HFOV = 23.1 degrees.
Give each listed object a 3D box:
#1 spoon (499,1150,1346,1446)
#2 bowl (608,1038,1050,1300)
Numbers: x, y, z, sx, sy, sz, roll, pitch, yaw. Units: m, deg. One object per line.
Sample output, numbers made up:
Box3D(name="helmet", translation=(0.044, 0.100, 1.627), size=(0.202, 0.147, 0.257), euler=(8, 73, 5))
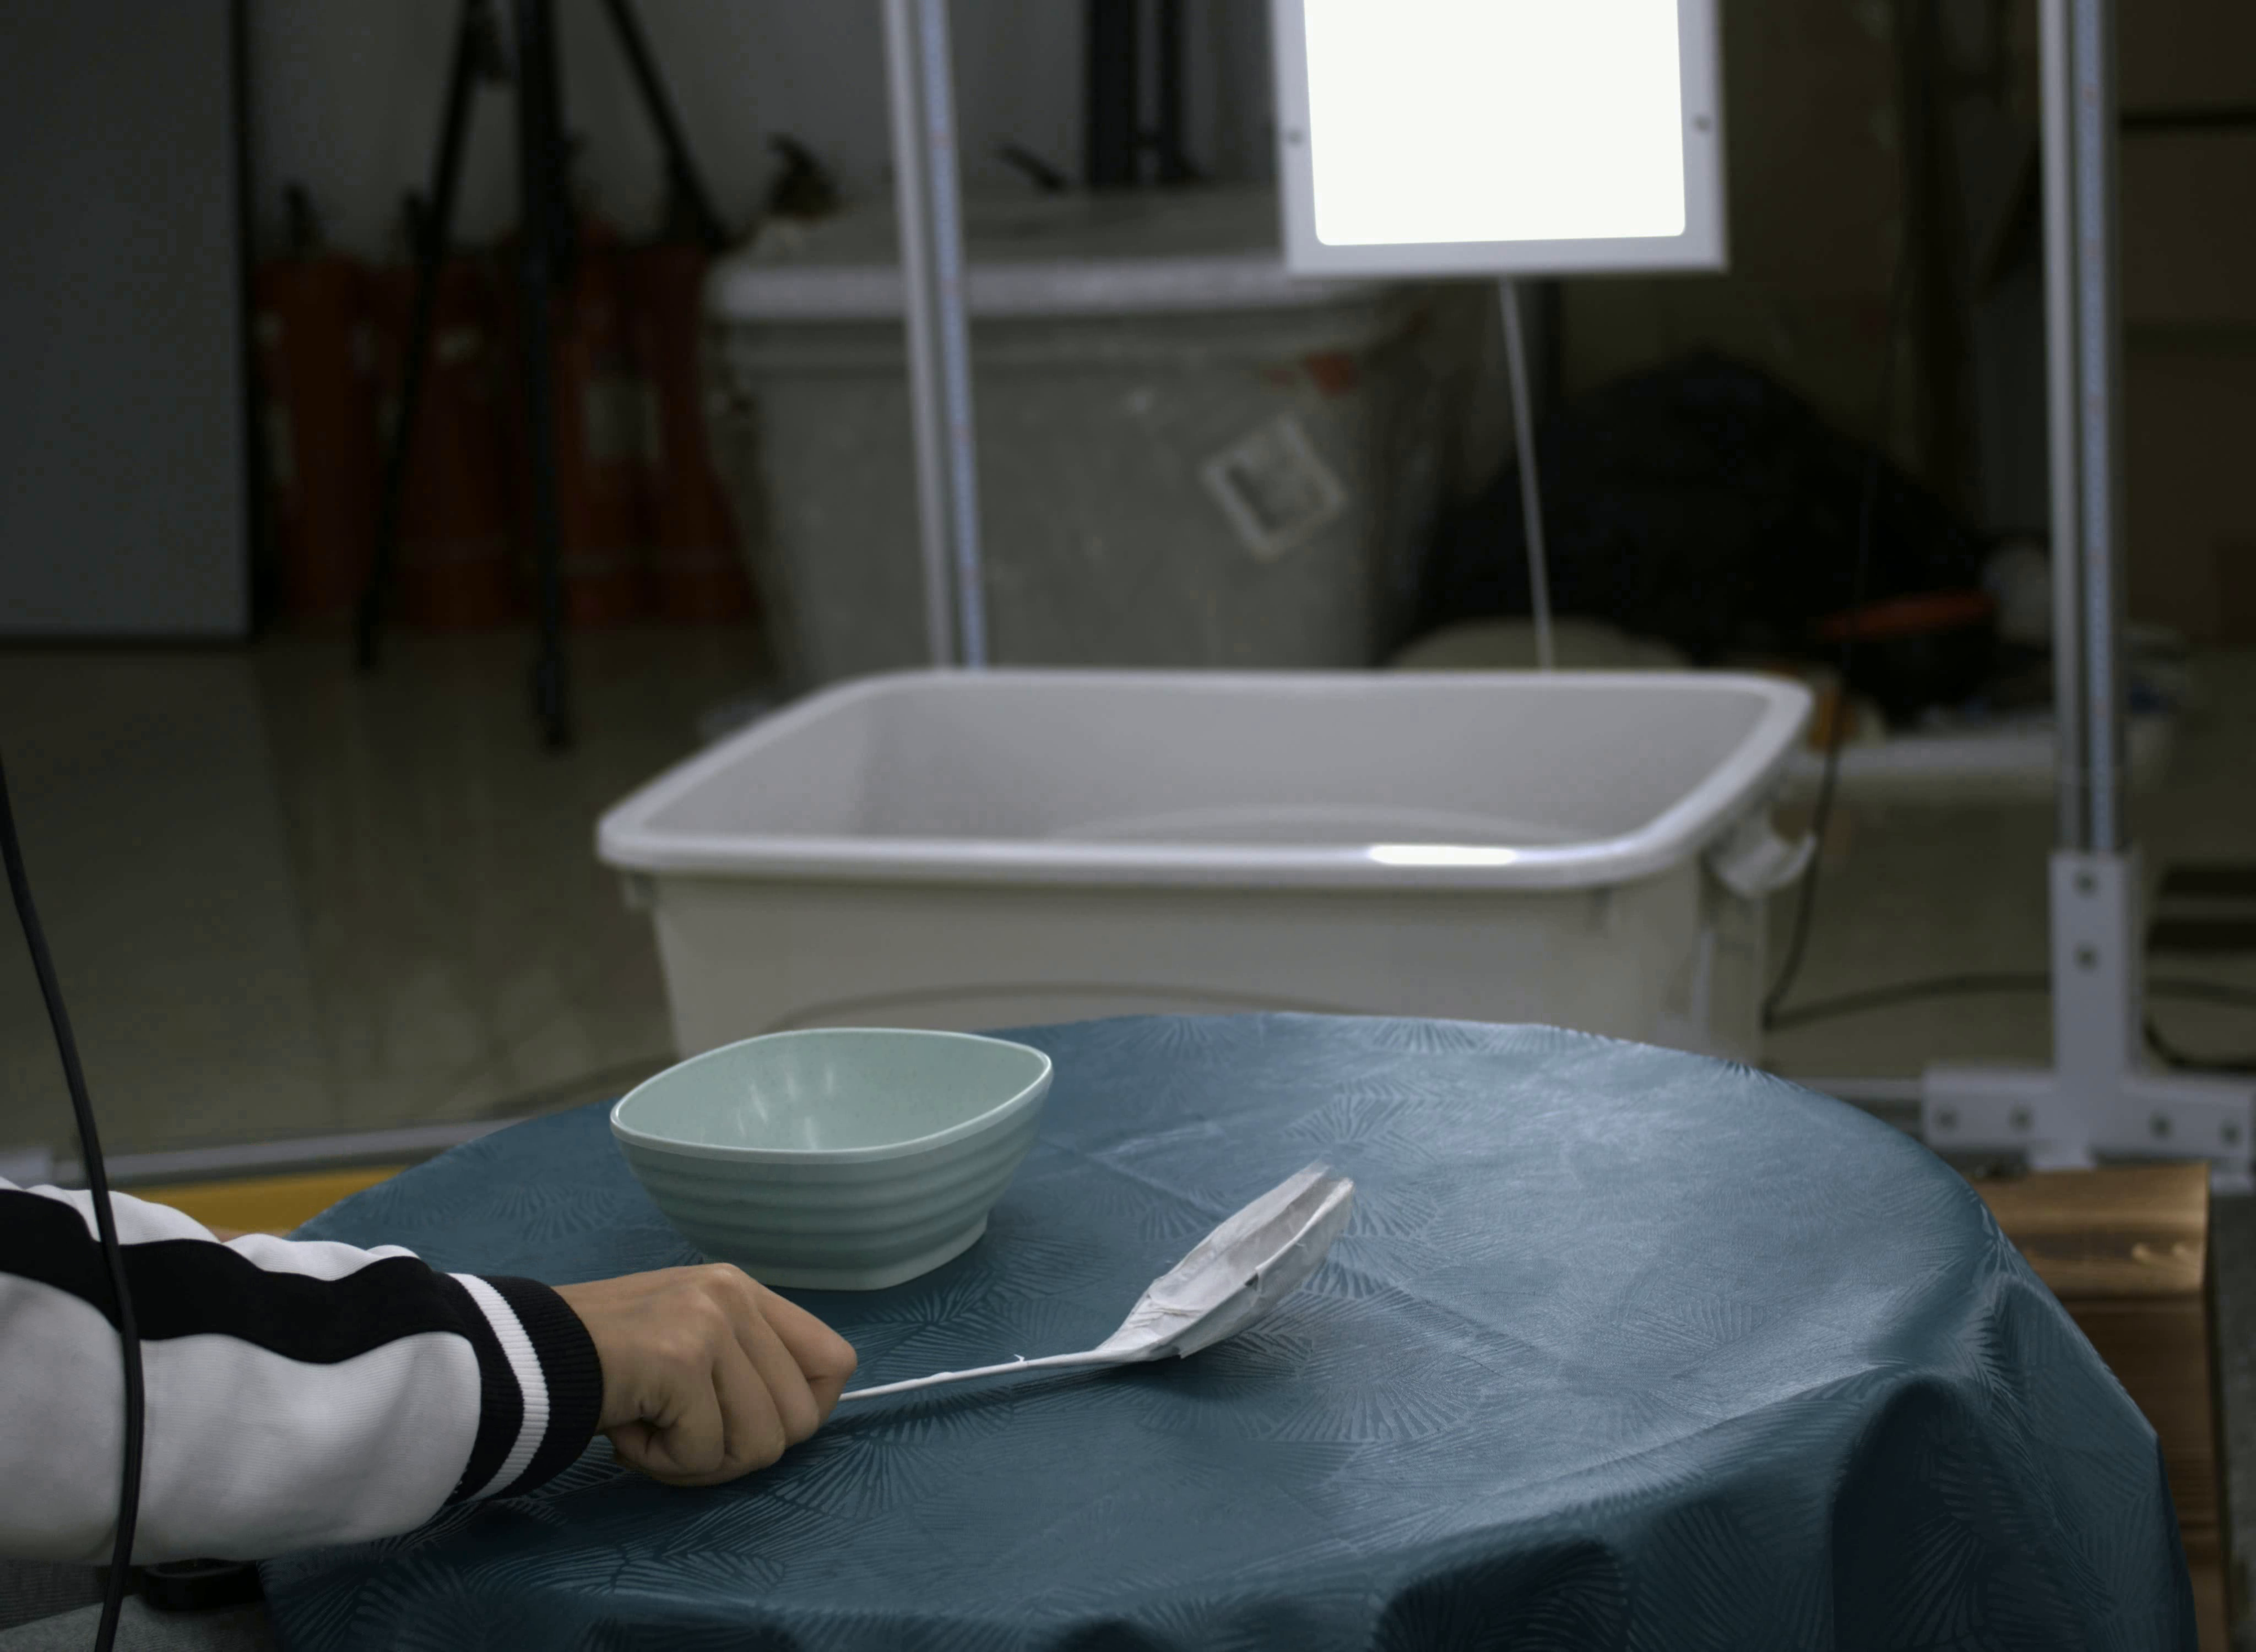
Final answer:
Box3D(name="spoon", translation=(-0.062, 0.146, 1.712), size=(0.273, 0.059, 0.102), euler=(-6, -8, -13))
Box3D(name="bowl", translation=(-0.098, 0.119, 1.858), size=(0.151, 0.059, 0.151), euler=(-5, 13, 0))
